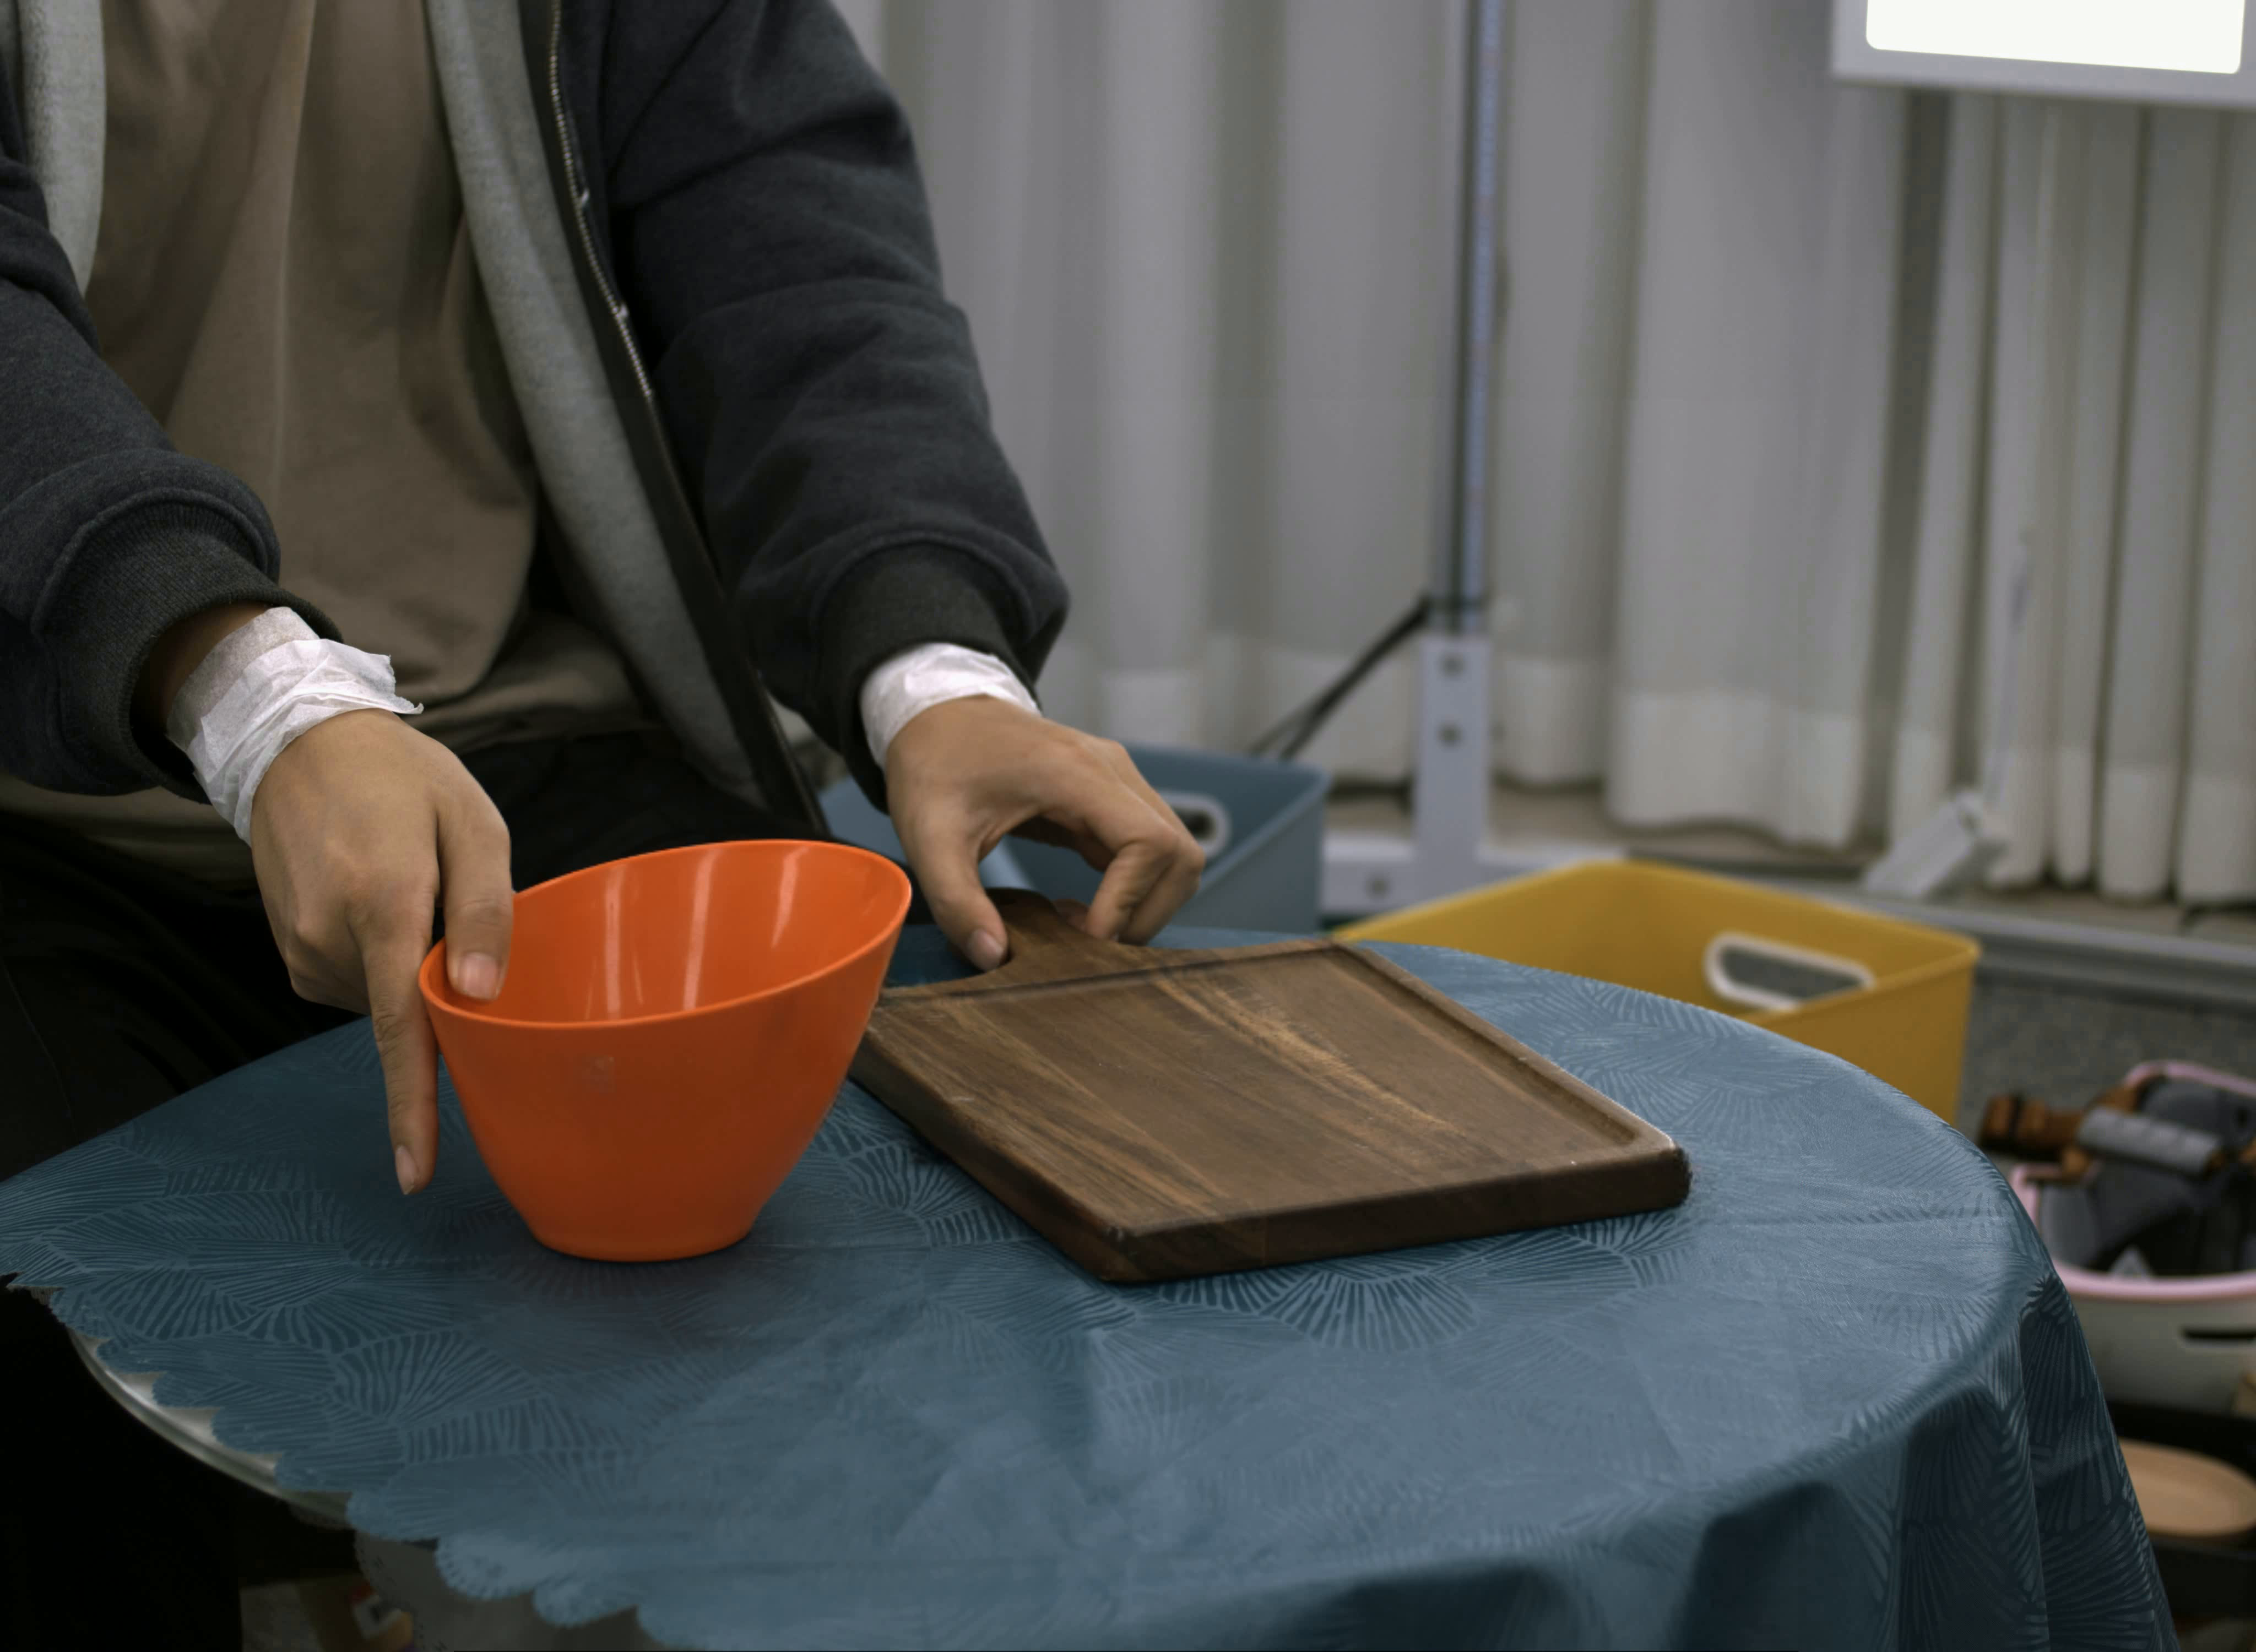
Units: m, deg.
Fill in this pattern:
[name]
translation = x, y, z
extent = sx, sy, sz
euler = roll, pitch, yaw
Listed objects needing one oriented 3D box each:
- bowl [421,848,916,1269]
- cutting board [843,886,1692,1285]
[bowl]
translation = -0.135, 0.072, 1.575
extent = 0.147, 0.105, 0.147
euler = 0, 14, 1
[cutting board]
translation = 0.016, 0.074, 1.723
extent = 0.202, 0.023, 0.348
euler = -6, 17, -23
